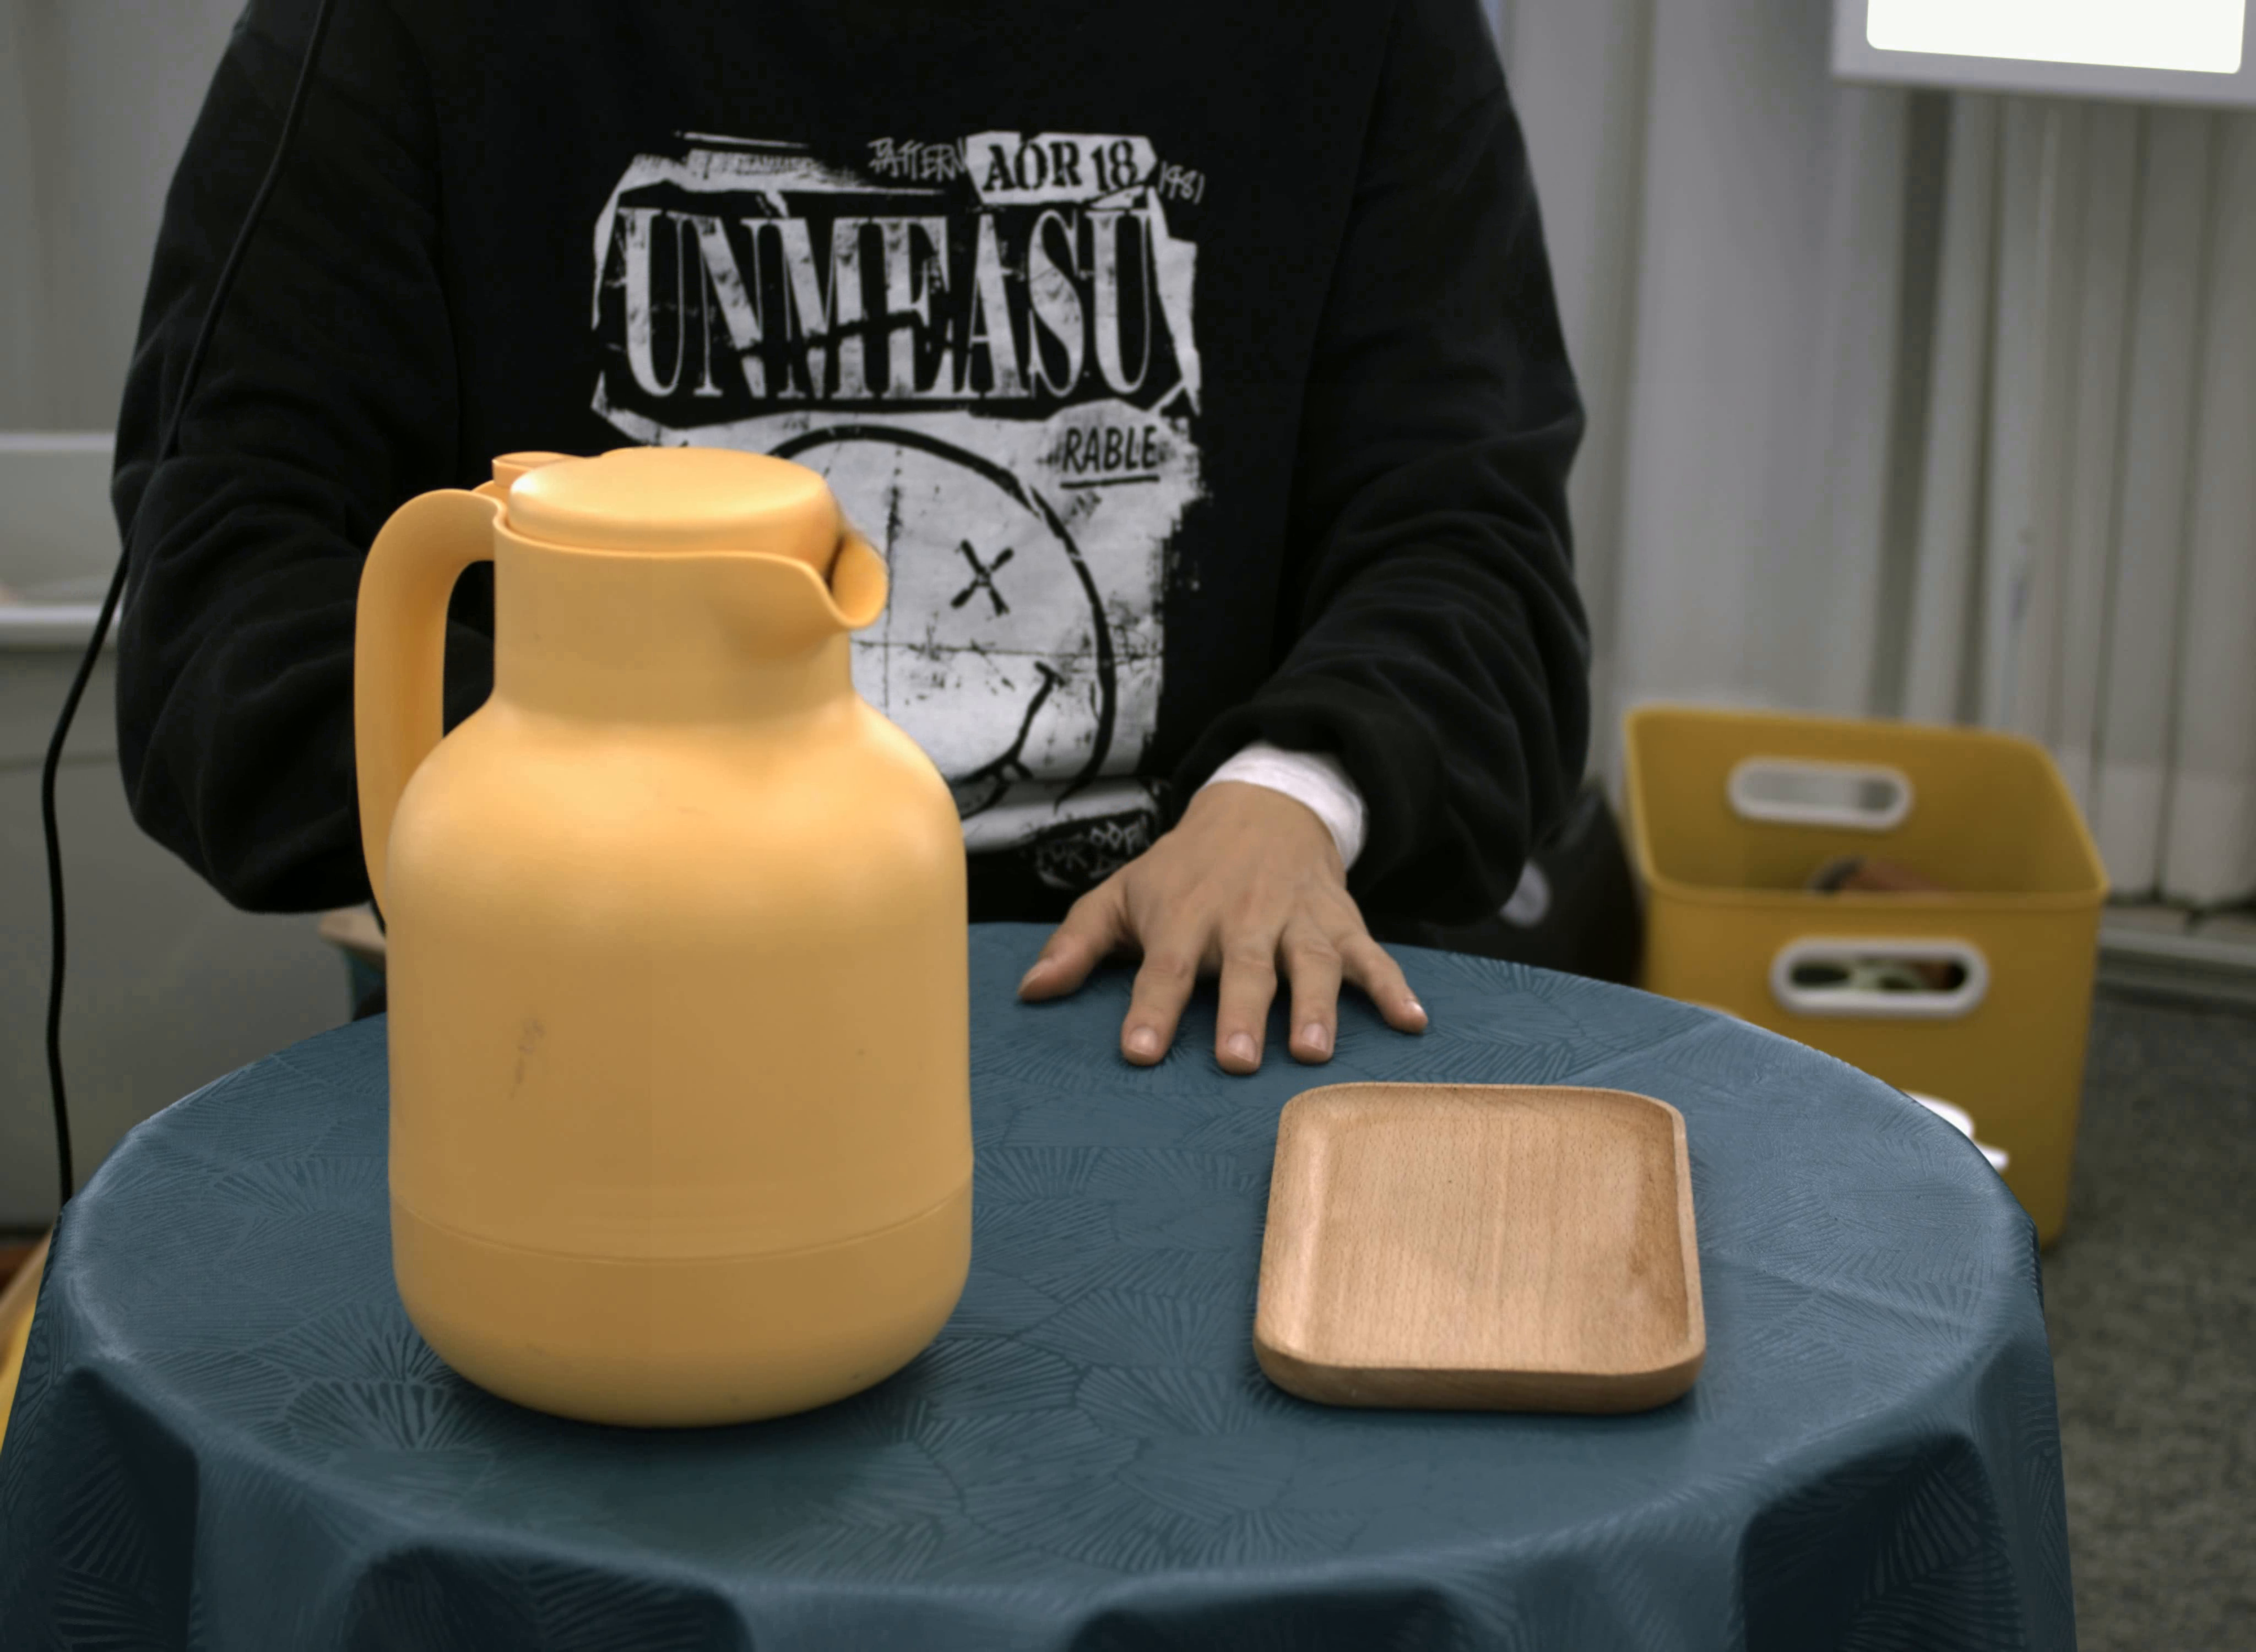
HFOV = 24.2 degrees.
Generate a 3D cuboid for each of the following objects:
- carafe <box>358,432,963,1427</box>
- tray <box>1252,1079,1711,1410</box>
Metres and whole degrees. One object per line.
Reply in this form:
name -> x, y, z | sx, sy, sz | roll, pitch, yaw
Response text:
carafe -> -0.138, 0.020, 1.459 | 0.199, 0.262, 0.164 | 17, 21, 41
tray -> 0.105, 0.121, 1.562 | 0.130, 0.023, 0.250 | 4, 15, 4
